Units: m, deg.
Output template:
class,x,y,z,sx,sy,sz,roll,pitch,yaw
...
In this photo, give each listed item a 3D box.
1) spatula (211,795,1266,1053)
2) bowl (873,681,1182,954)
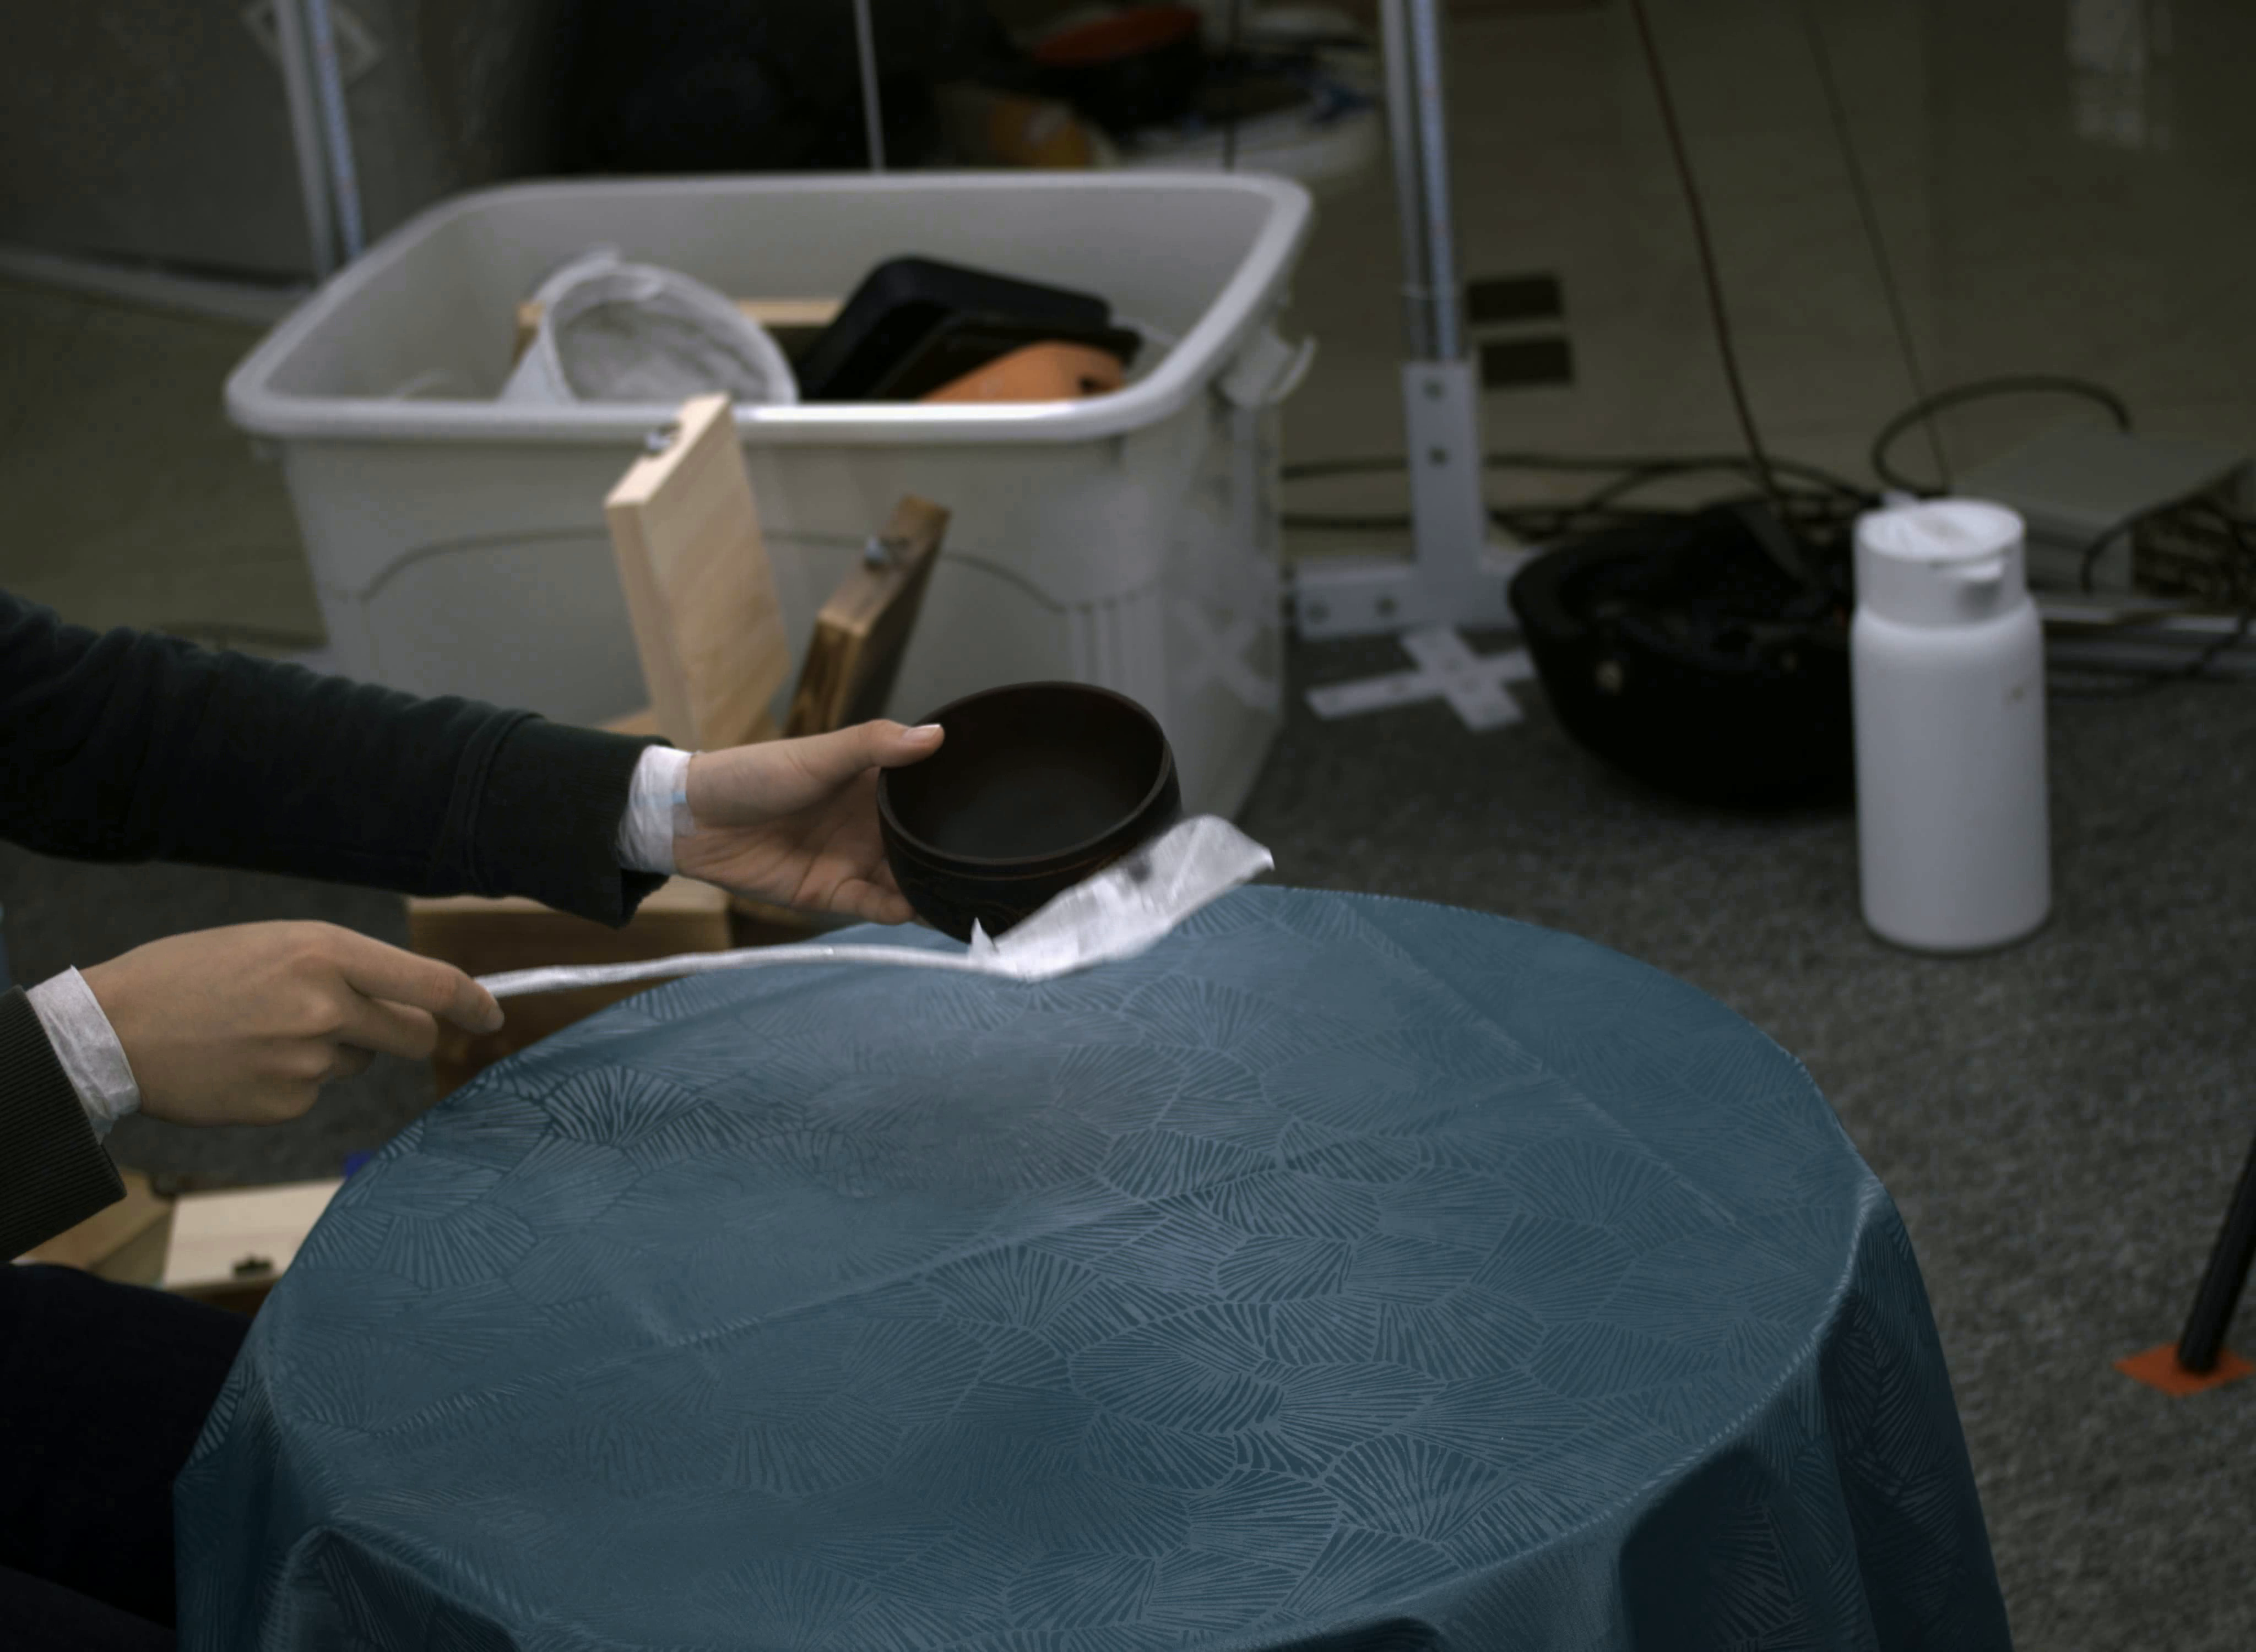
class,x,y,z,sx,sy,sz,roll,pitch,yaw
spatula,-0.131,0.037,1.927,0.364,0.045,0.098,-6,14,-12
bowl,-0.036,0.005,2.177,0.118,0.071,0.116,-6,37,5
